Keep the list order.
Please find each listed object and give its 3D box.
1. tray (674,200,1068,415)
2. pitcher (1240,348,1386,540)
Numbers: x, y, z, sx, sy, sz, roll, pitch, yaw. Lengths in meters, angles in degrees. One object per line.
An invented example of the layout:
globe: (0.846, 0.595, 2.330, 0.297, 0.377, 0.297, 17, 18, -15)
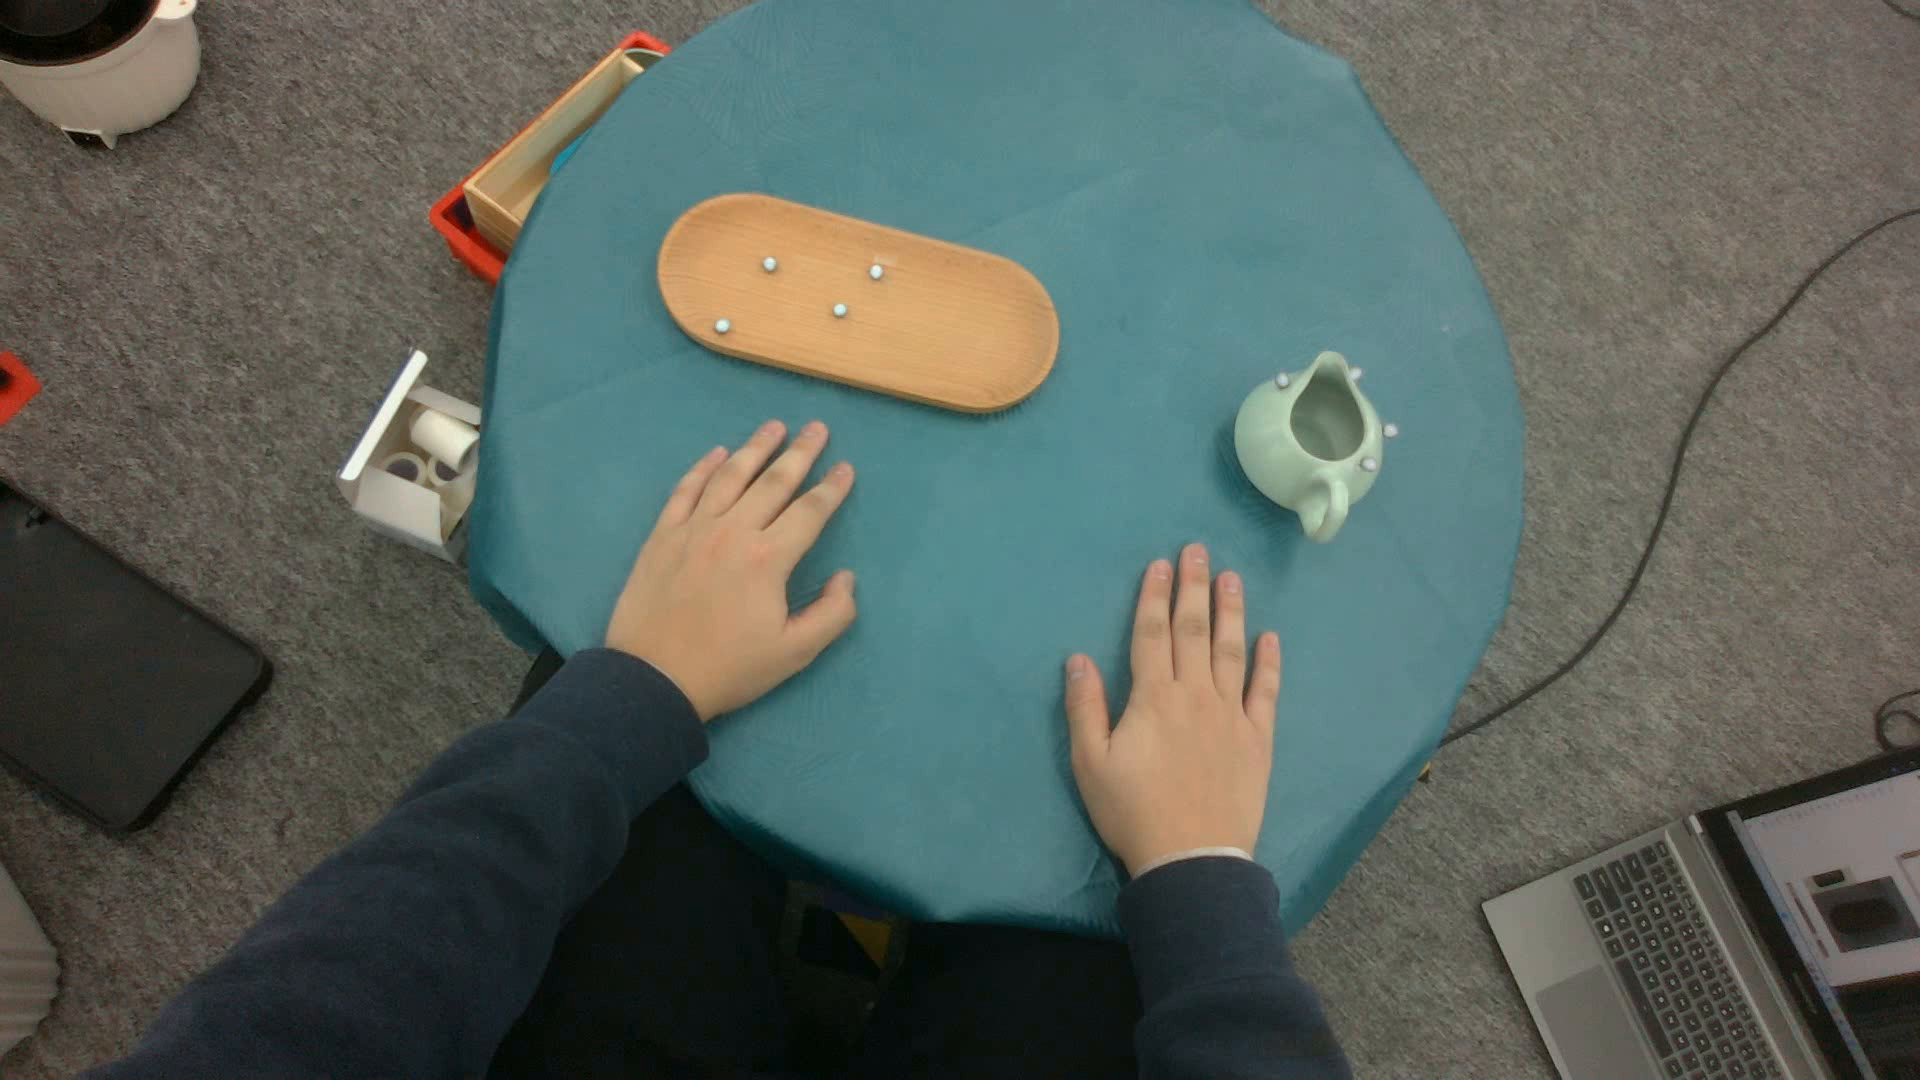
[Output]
tray: (-0.050, -0.135, 0.801, 0.231, 0.020, 0.102, 13, 71, -5)
pitcher: (0.205, -0.050, 0.787, 0.086, 0.060, 0.108, 3, 73, -6)
